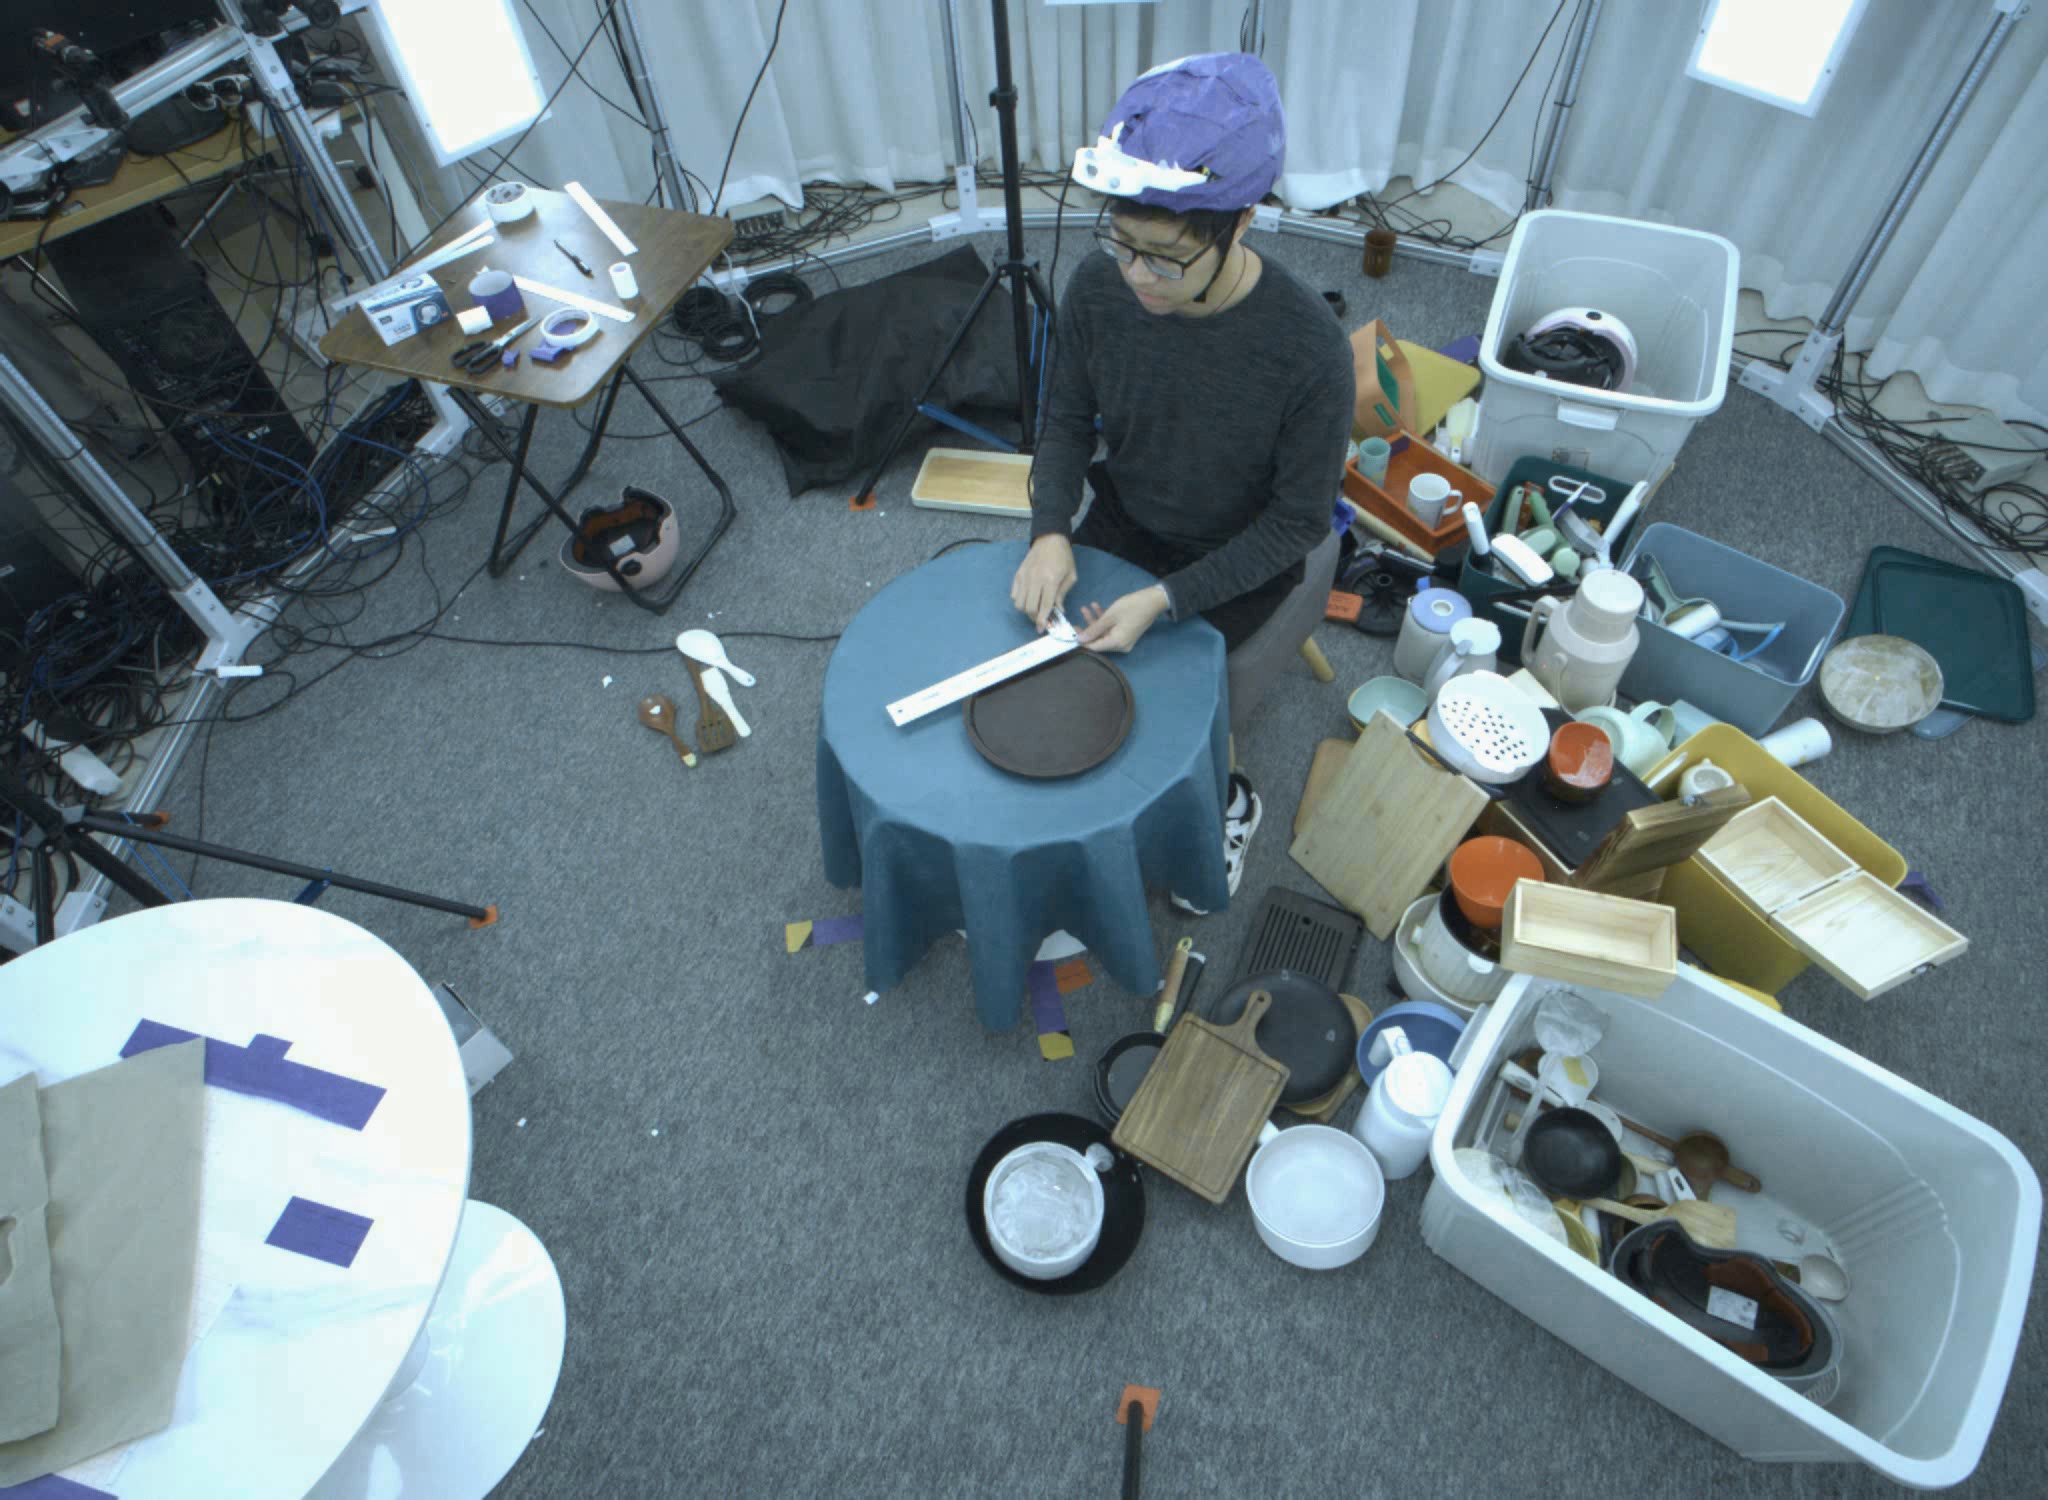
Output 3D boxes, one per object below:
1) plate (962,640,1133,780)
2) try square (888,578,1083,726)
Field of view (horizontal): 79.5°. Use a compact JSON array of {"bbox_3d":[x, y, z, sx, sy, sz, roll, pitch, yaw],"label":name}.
[{"bbox_3d":[0.035,-0.060,1.814,0.254,0.029,0.252,-1,55,3],"label":"plate"},{"bbox_3d":[-0.080,-0.153,1.868,0.315,0.016,0.149,-25,58,-13],"label":"try square"}]
